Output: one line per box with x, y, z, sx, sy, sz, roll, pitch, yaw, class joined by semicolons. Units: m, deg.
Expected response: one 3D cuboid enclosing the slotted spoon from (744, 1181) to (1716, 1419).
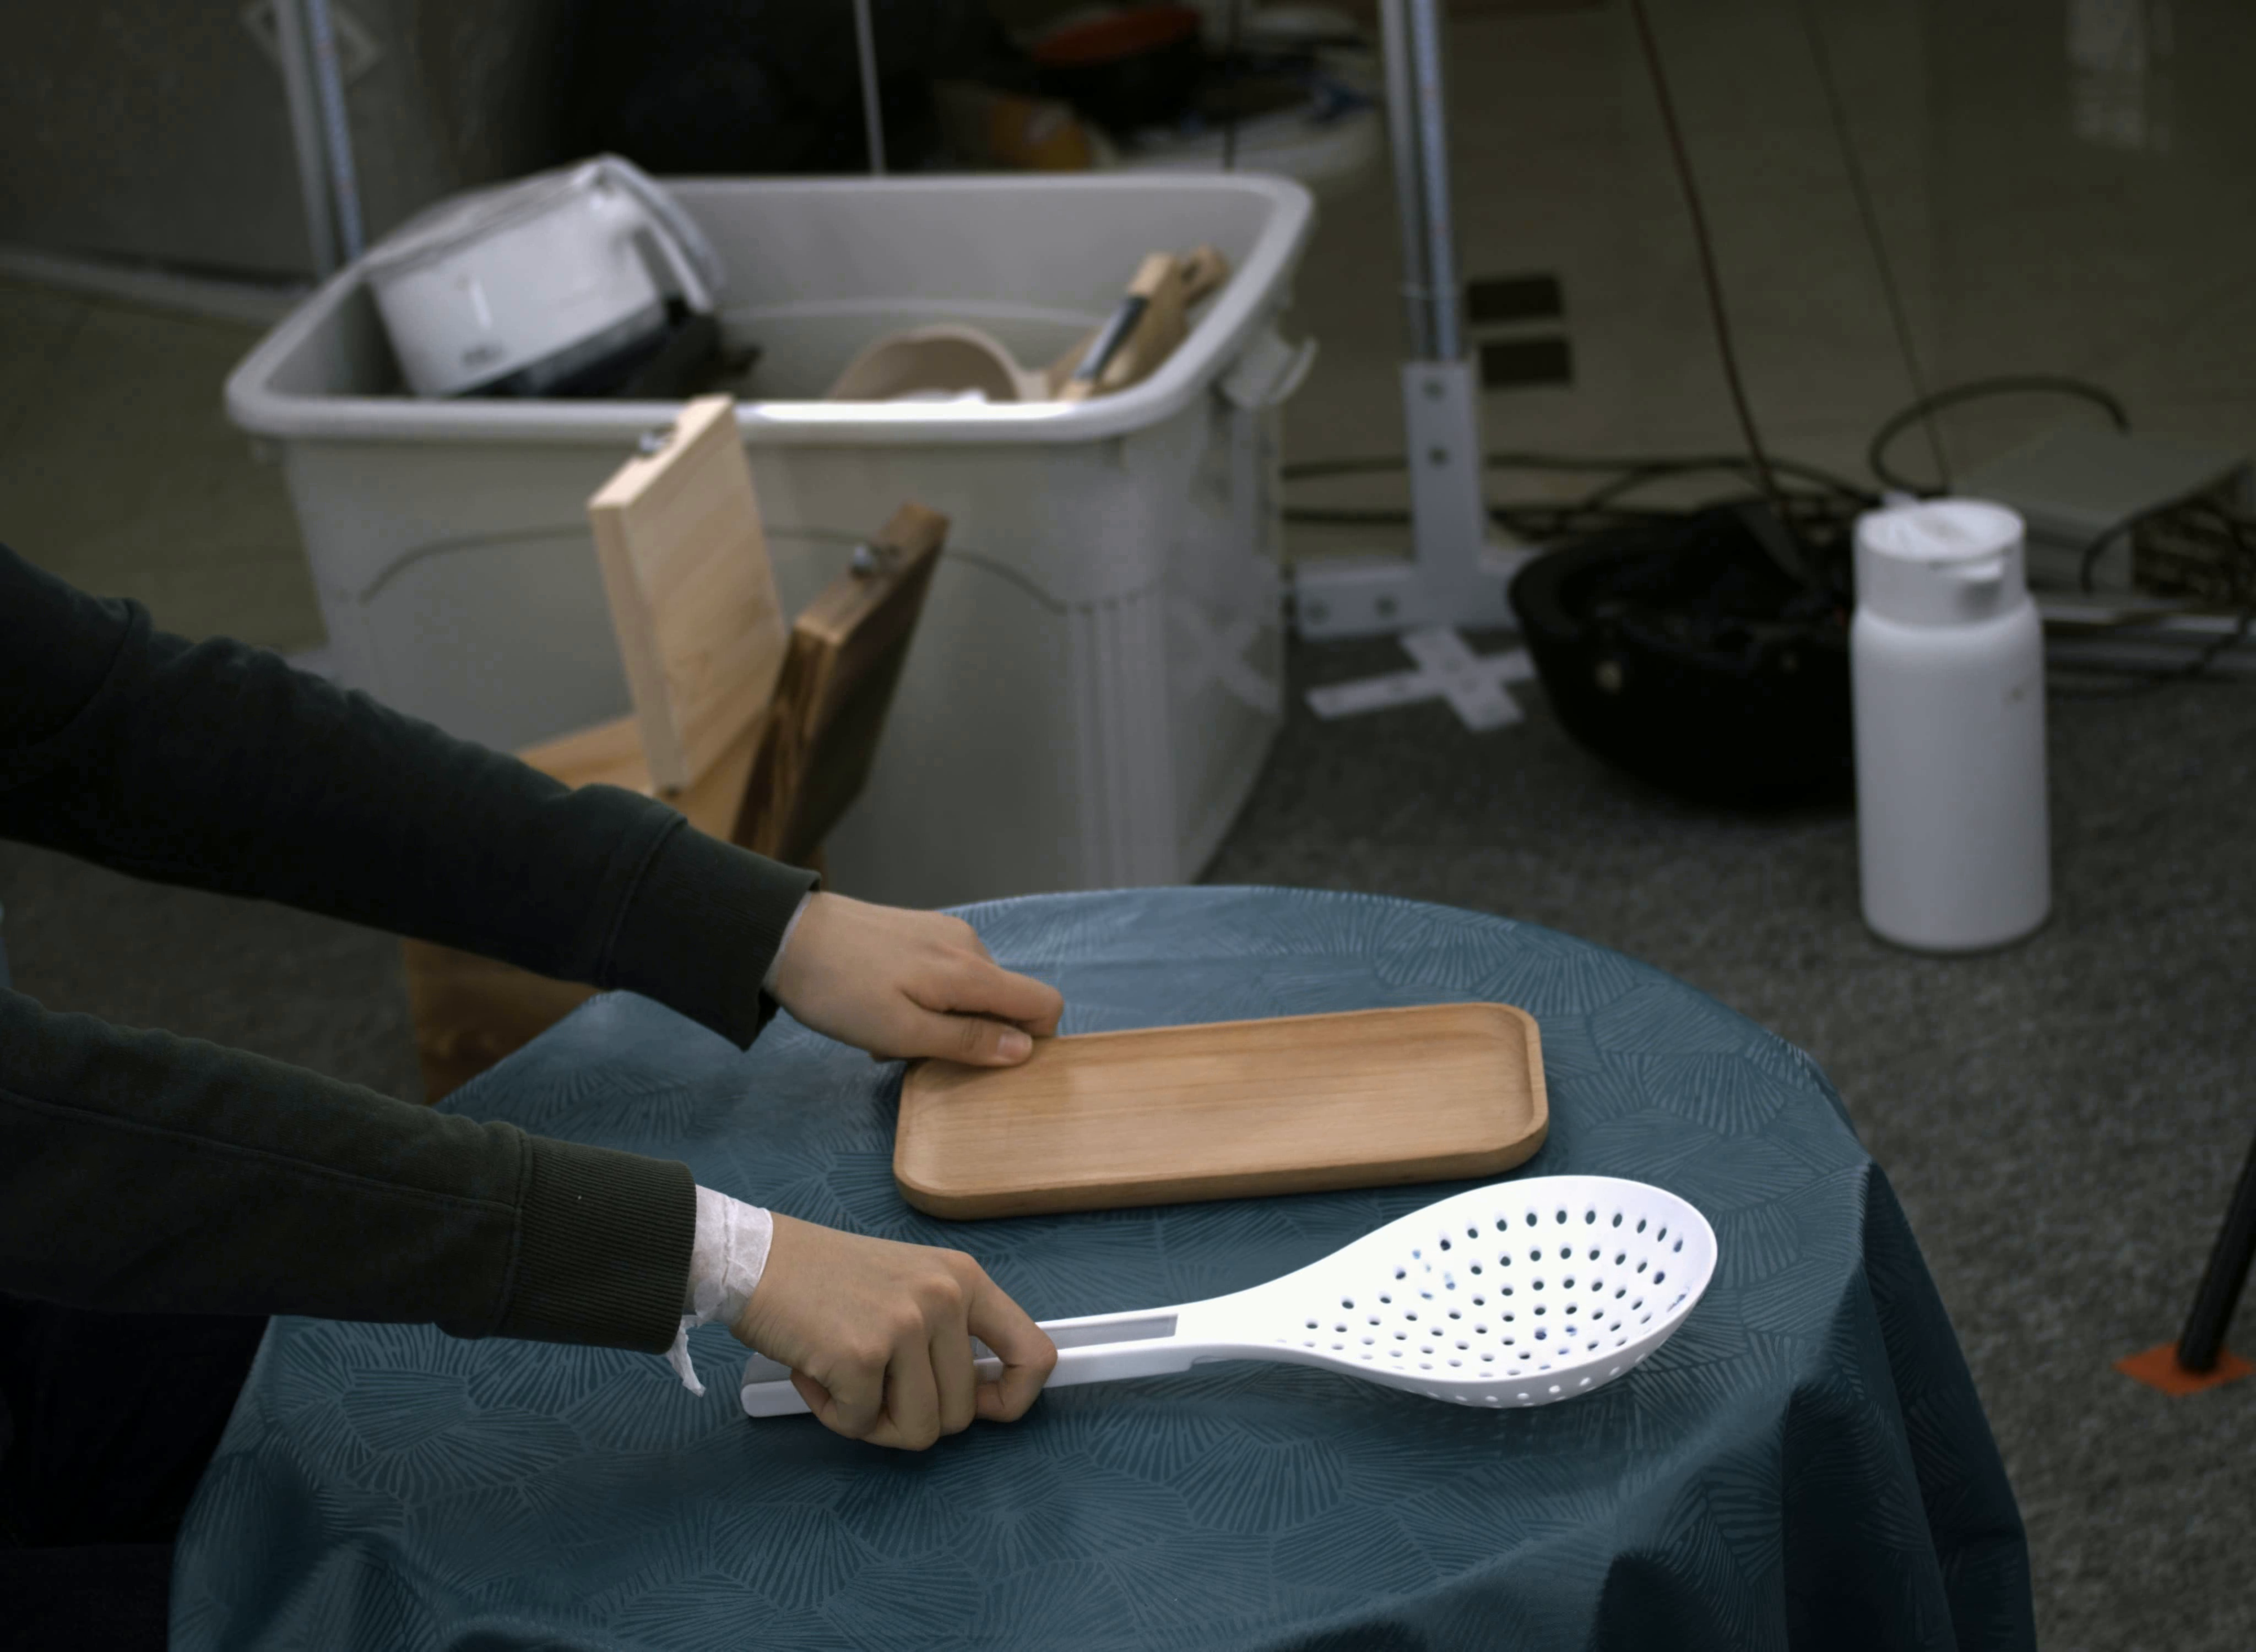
0.034;0.179;2.005;0.349;0.046;0.134;-4;25;8;slotted spoon

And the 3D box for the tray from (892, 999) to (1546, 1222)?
0.035;0.110;2.186;0.250;0.023;0.129;-5;23;4;tray
